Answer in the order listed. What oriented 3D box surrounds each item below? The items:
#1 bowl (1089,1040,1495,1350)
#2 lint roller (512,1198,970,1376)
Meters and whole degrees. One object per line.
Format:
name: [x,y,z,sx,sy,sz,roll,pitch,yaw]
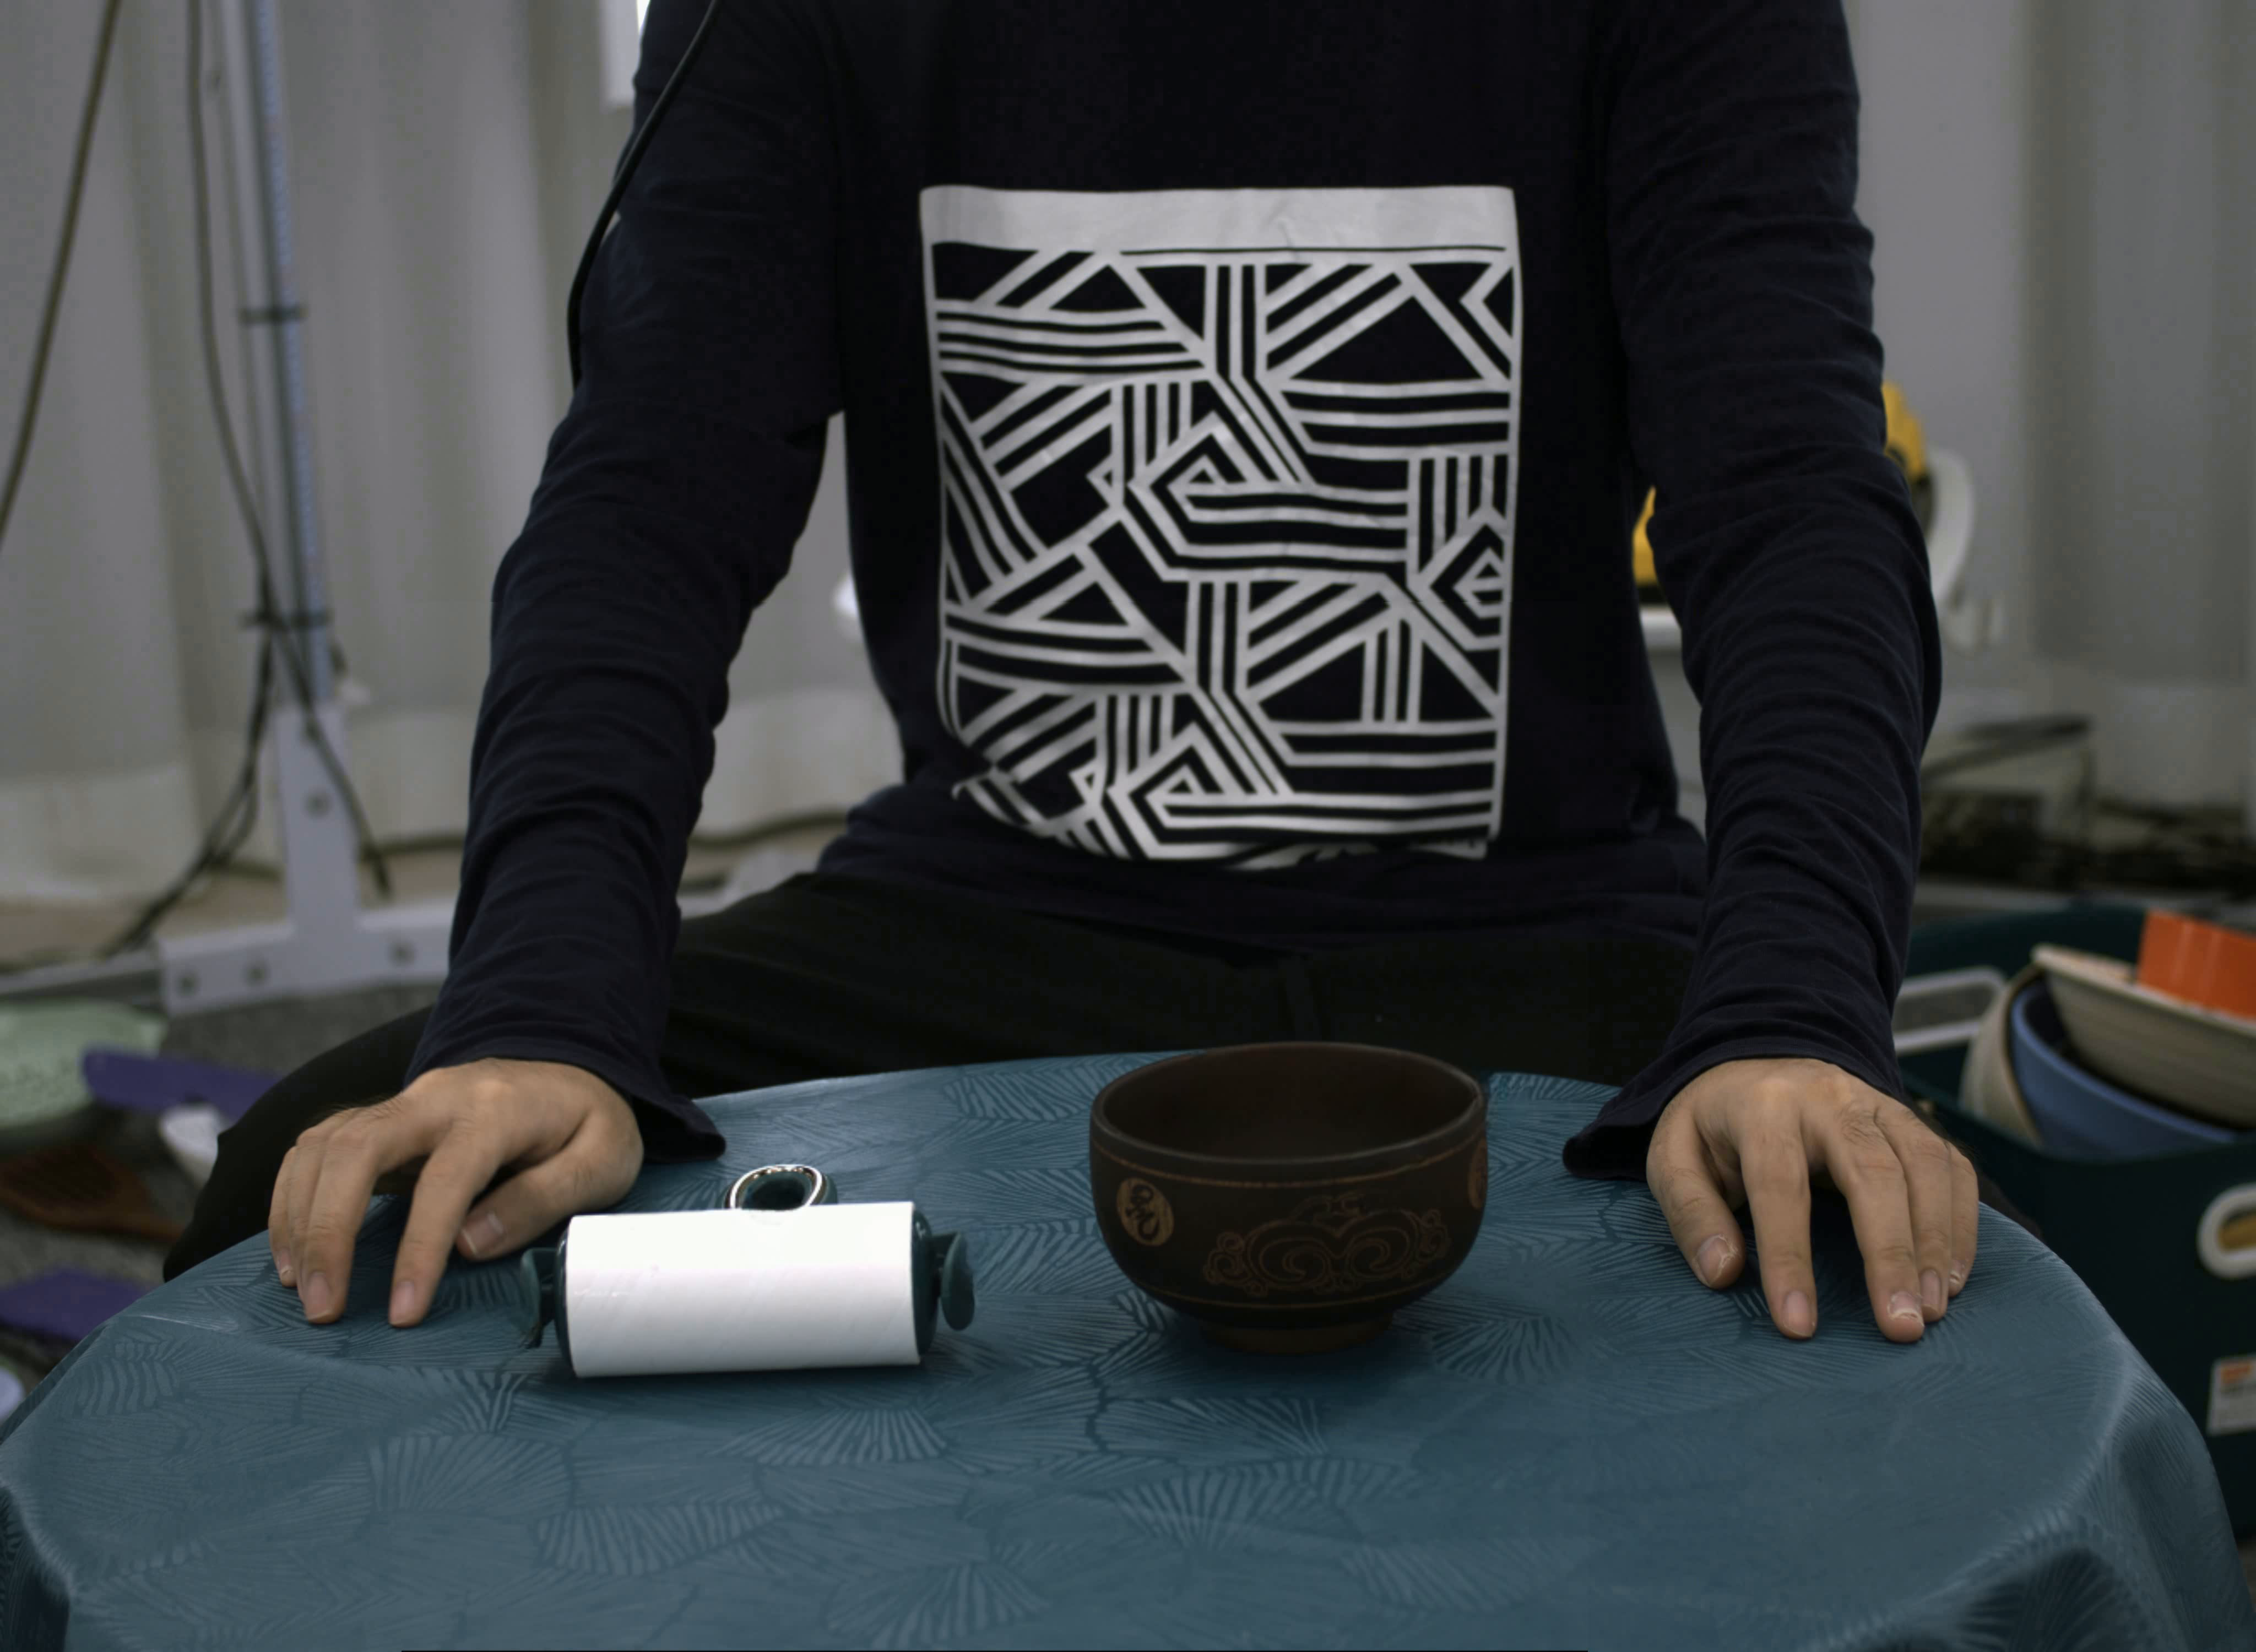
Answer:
bowl: [0.048,0.110,1.585,0.117,0.069,0.119,-4,13,1]
lint roller: [-0.110,0.121,1.640,0.134,0.048,0.181,-3,10,1]
